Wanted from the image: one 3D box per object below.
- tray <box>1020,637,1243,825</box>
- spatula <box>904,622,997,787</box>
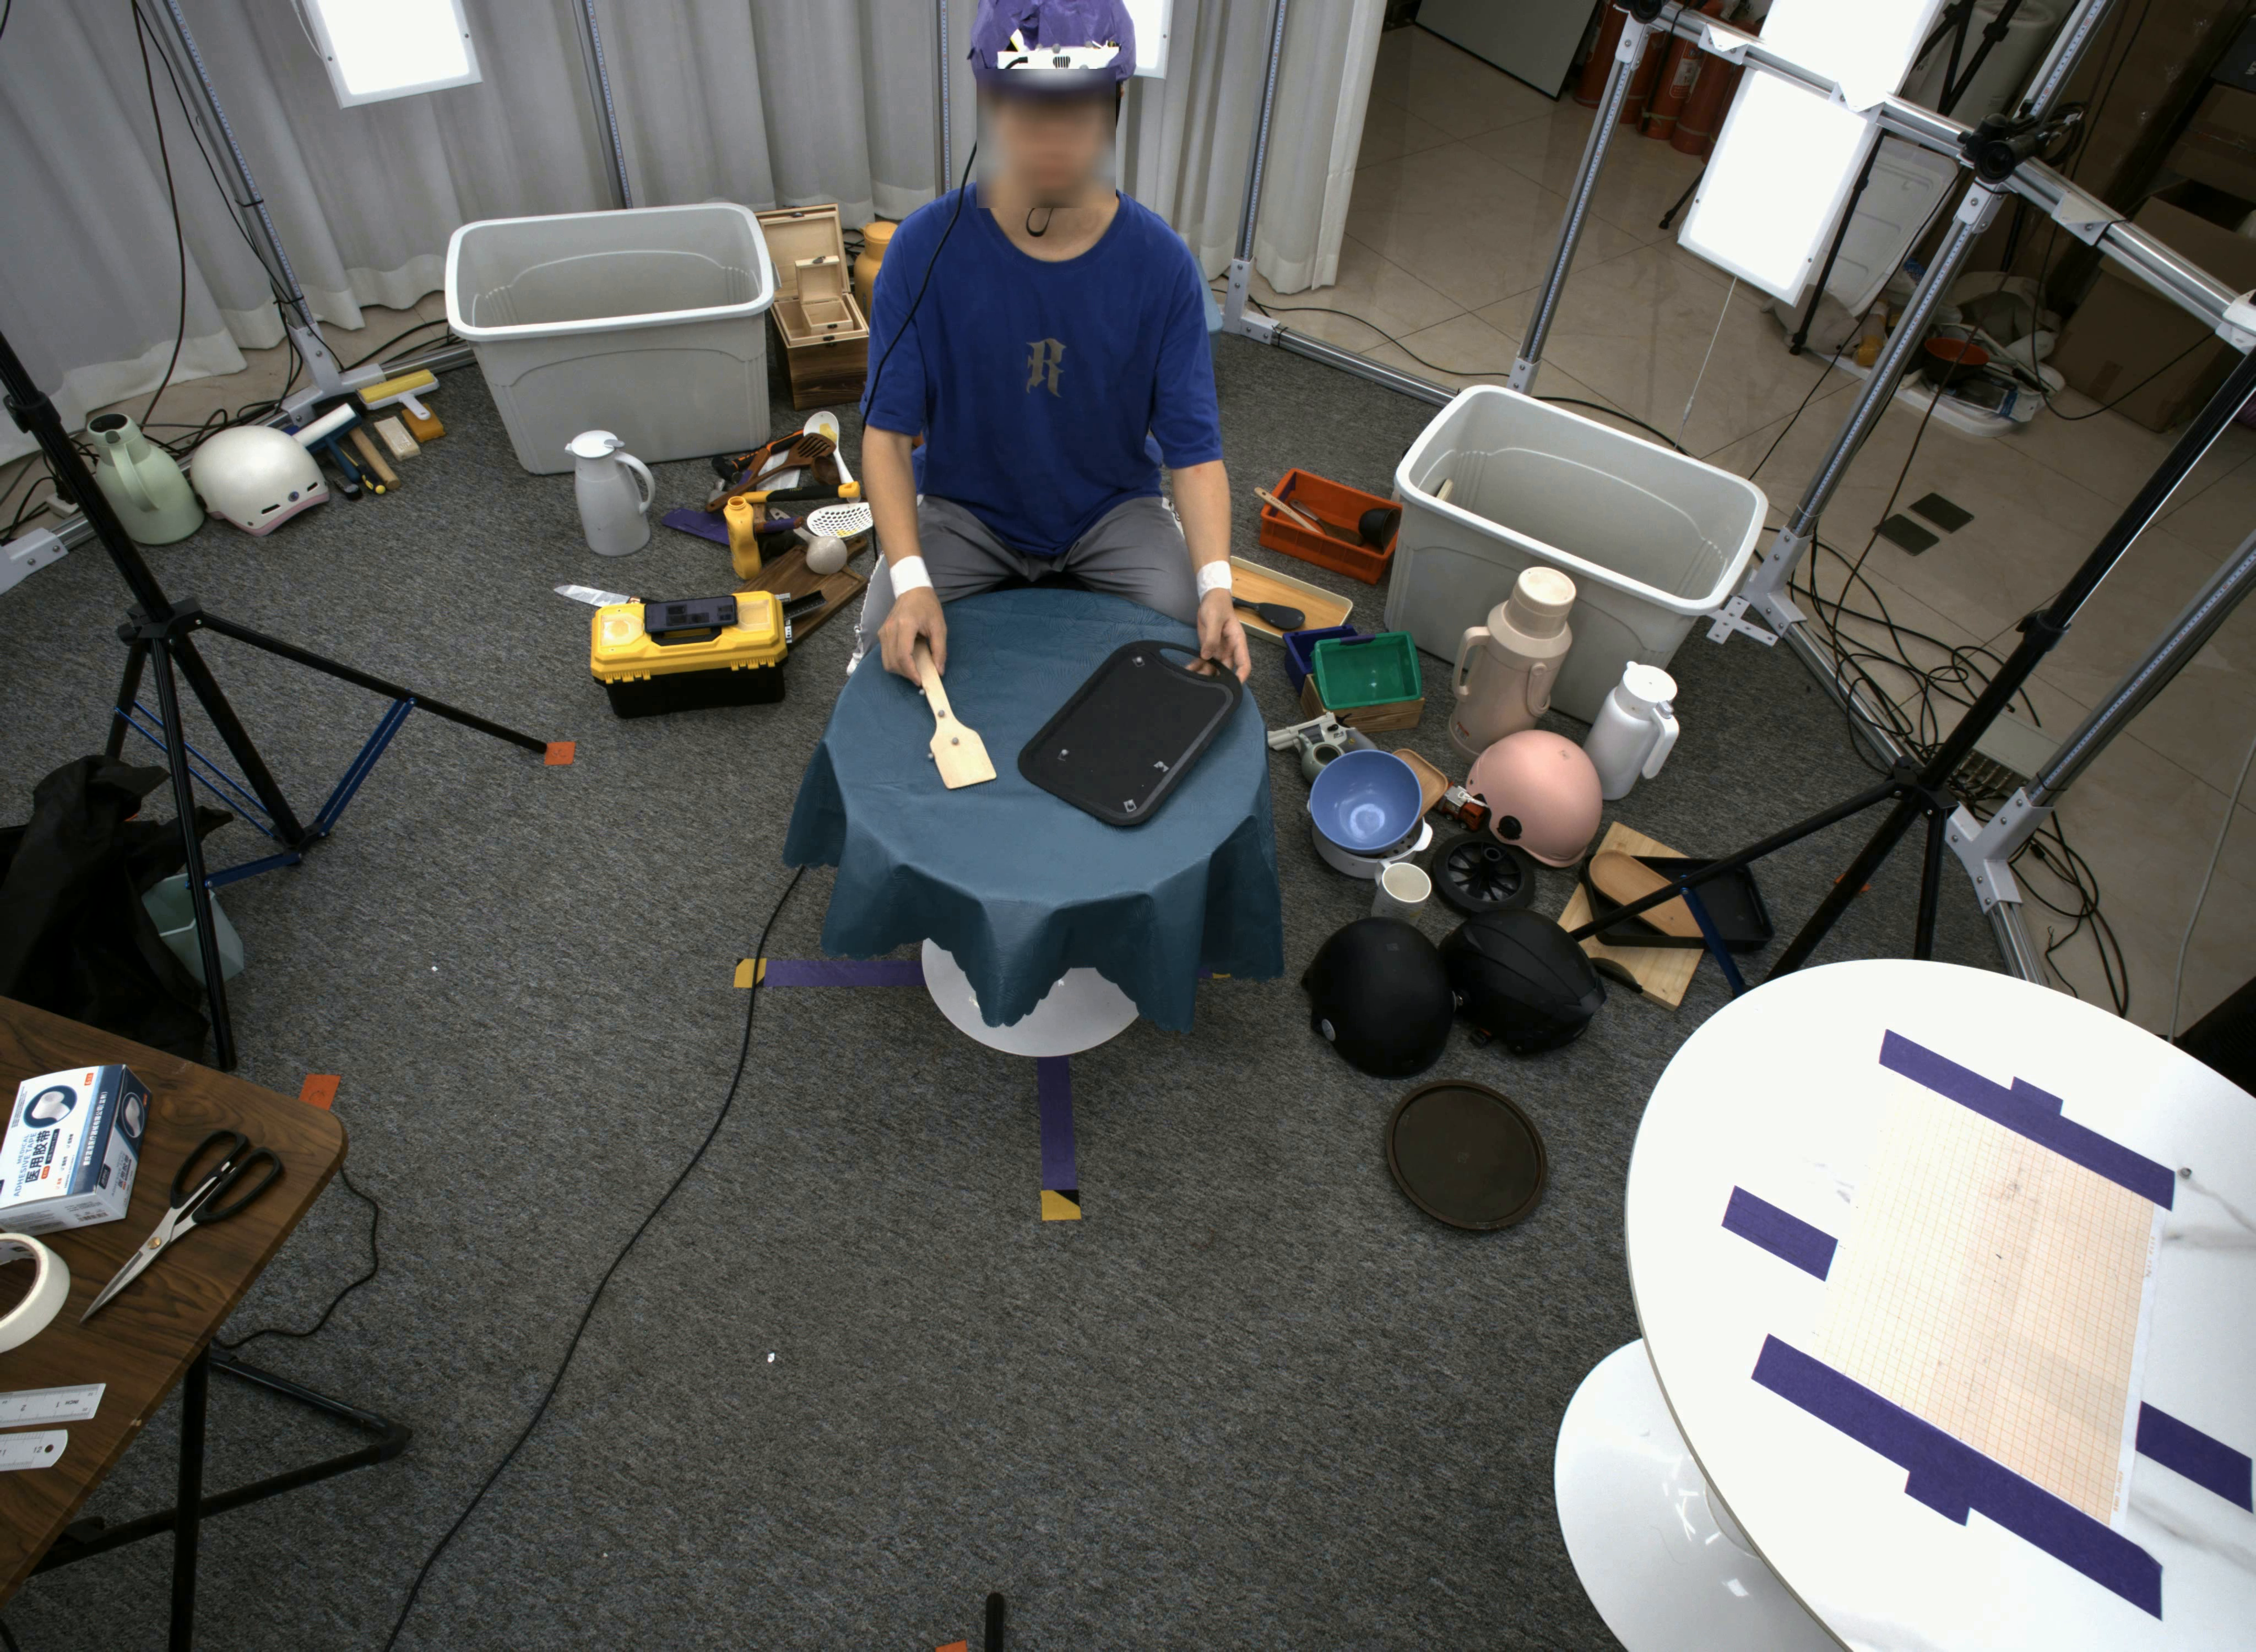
[{"bbox_3d":[0.012,-0.145,1.774,0.213,0.009,0.330,28,59,22],"label":"tray"},{"bbox_3d":[-0.259,-0.175,1.785,0.072,0.010,0.299,-15,59,-16],"label":"spatula"}]
